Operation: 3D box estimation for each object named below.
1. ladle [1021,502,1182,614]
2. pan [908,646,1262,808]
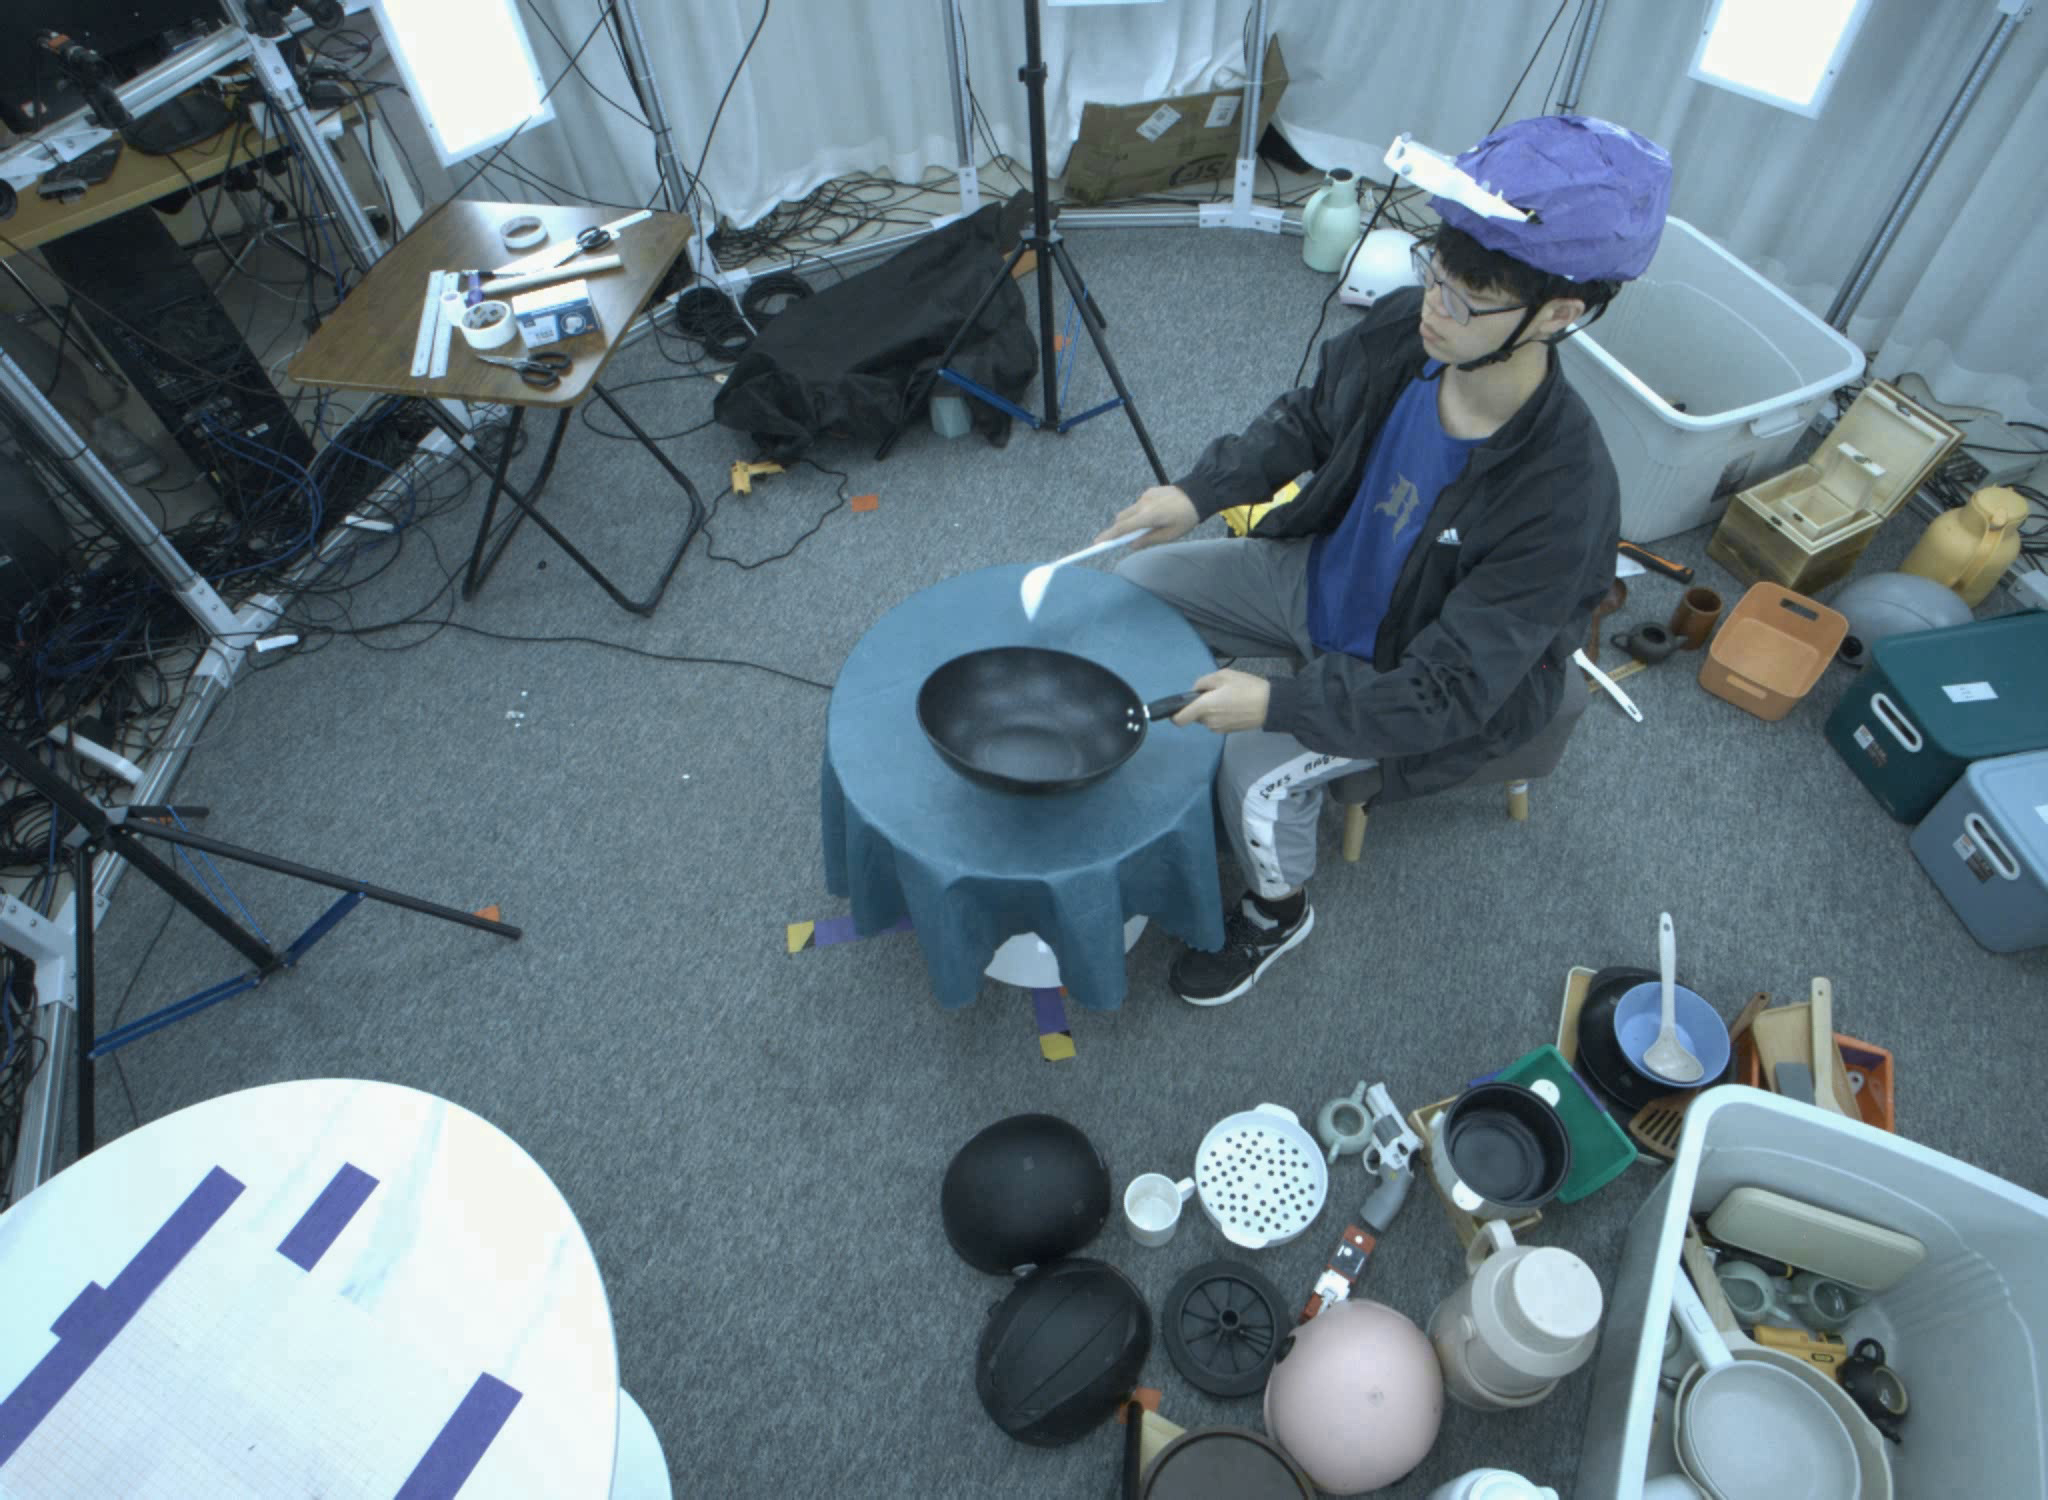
[{"bbox_3d":[0.119,-0.295,1.840,0.295,0.090,0.069,-25,67,-18],"label":"ladle"},{"bbox_3d":[0.083,-0.032,1.656,0.481,0.112,0.305,-3,40,-11],"label":"pan"}]
